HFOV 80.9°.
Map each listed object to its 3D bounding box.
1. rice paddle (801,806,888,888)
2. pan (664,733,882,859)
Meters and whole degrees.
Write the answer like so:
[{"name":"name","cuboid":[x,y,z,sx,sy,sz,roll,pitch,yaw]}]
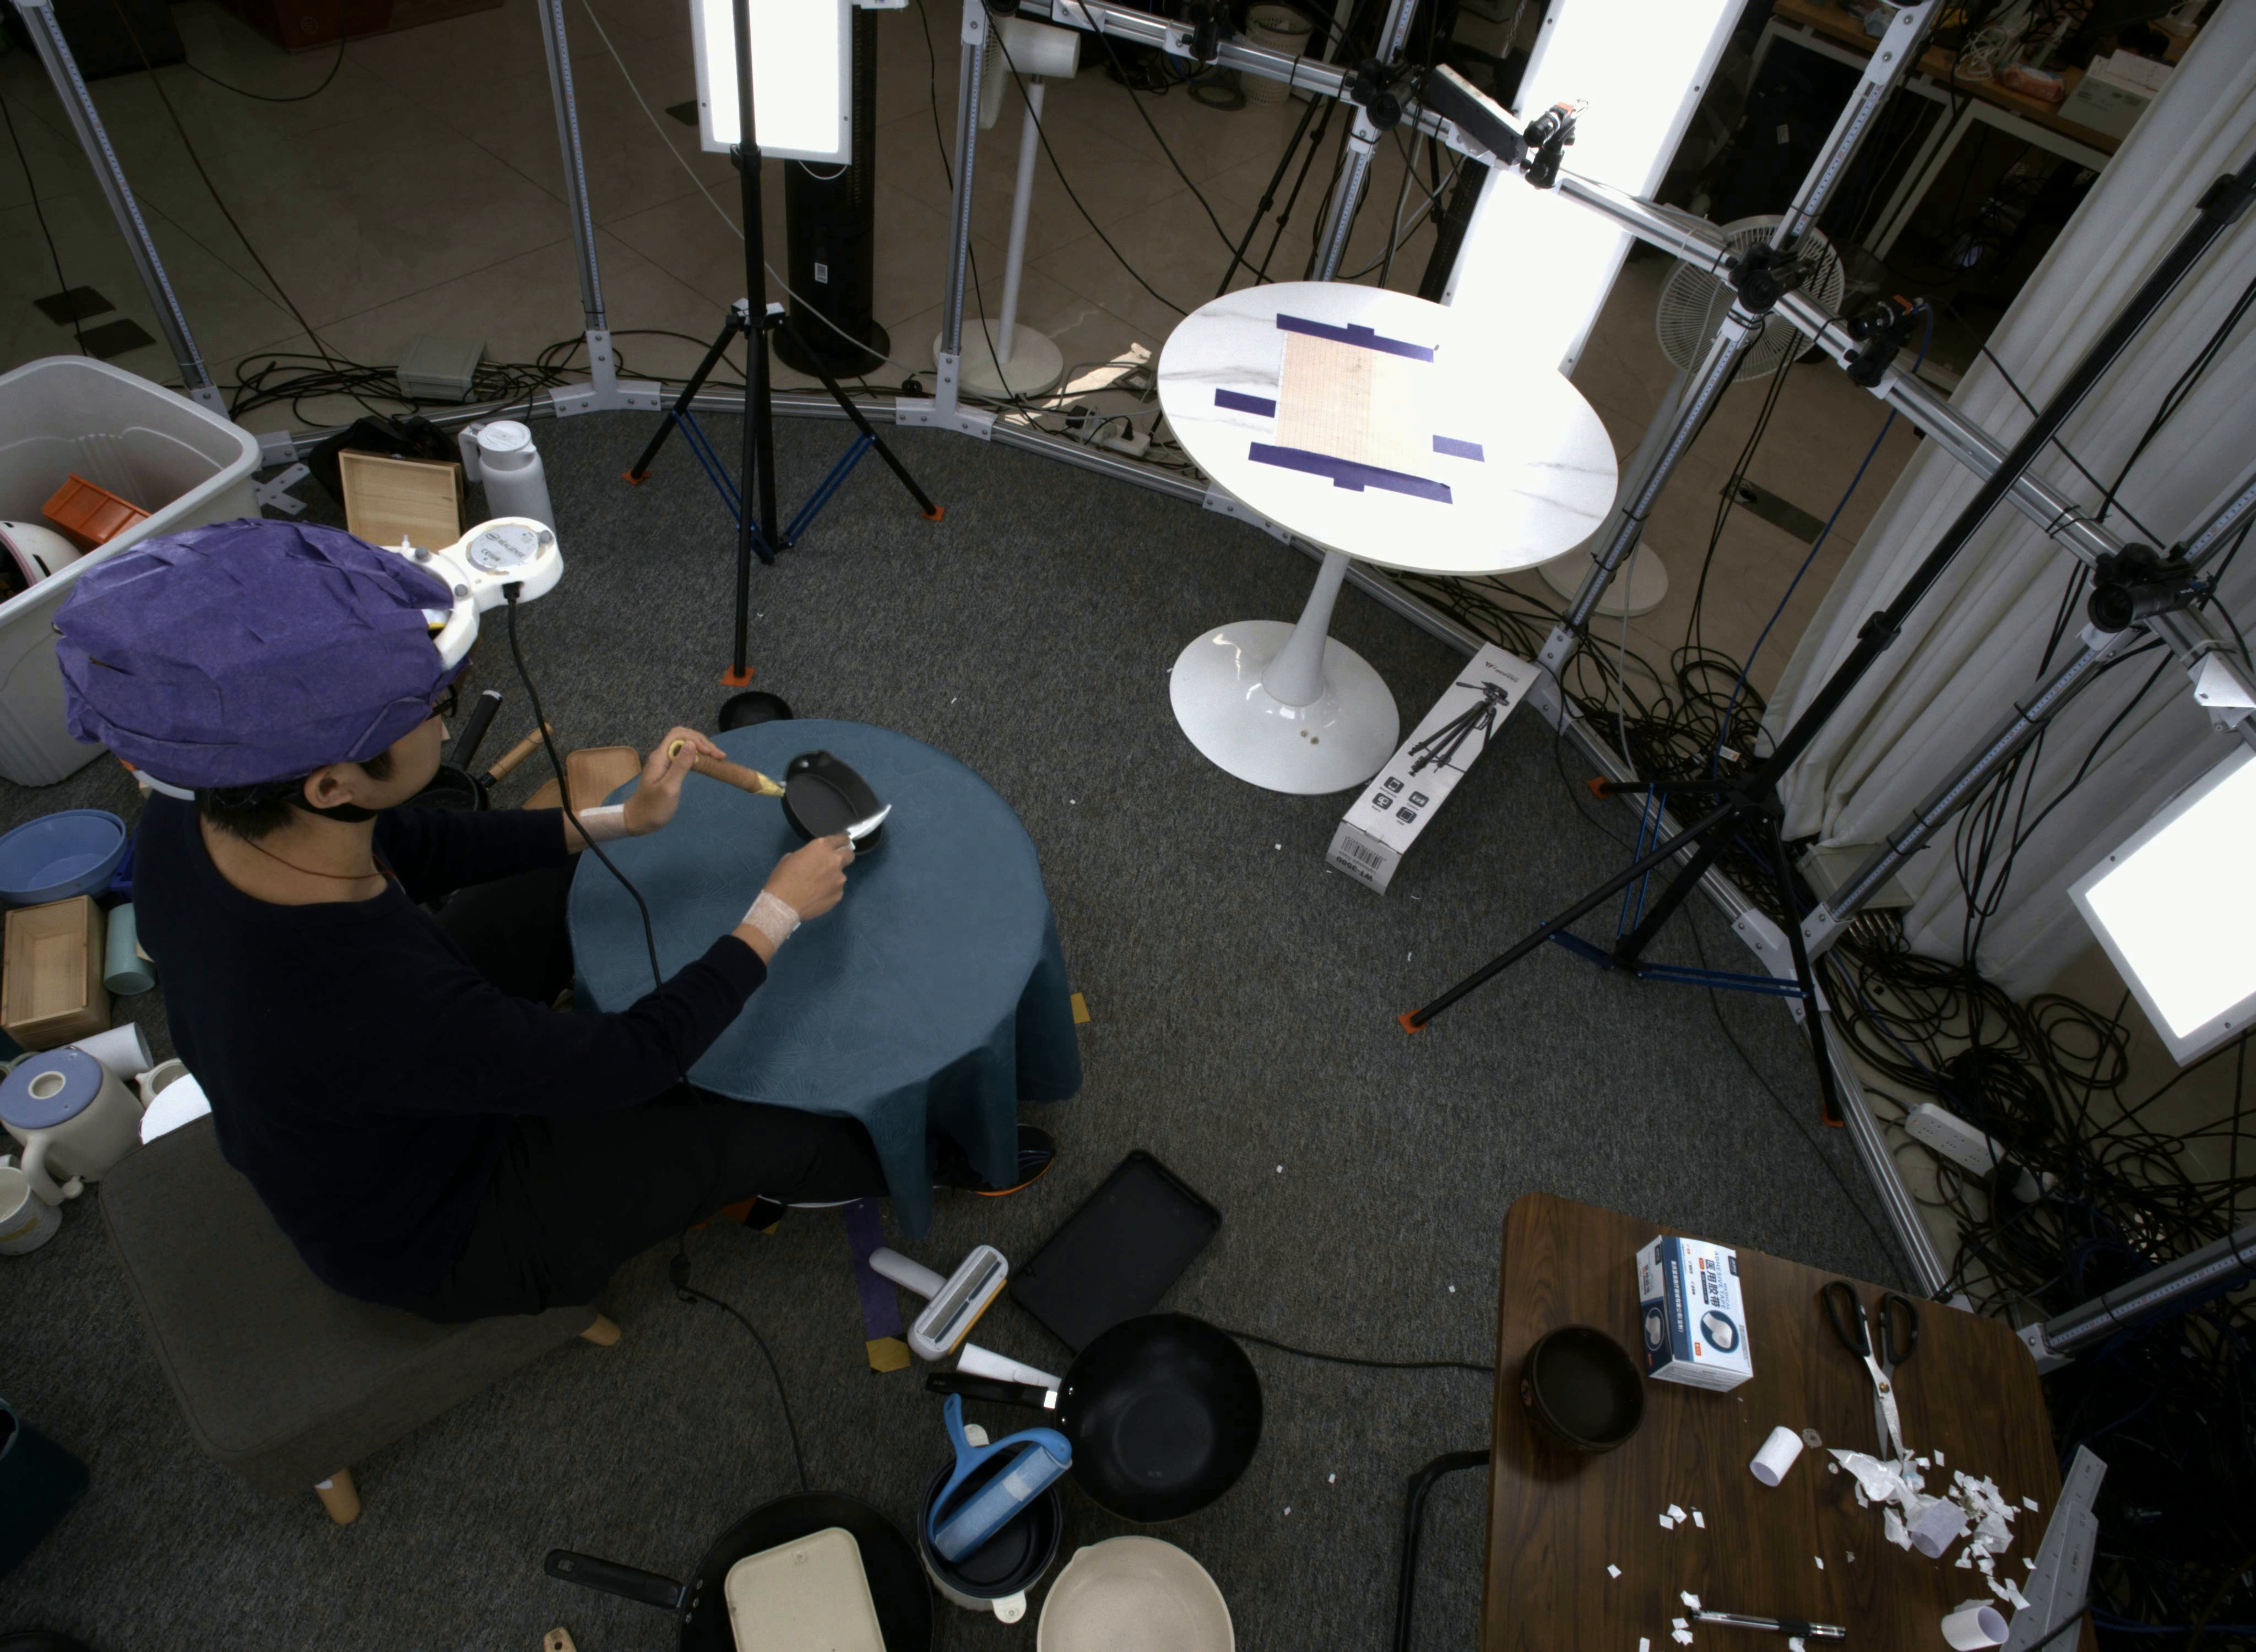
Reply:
[{"name":"rice paddle","cuboid":[-0.357,0.017,1.639,0.030,0.067,0.203,61,23,-16]},{"name":"pan","cuboid":[-0.440,-0.050,1.611,0.334,0.049,0.165,23,43,-48]}]
